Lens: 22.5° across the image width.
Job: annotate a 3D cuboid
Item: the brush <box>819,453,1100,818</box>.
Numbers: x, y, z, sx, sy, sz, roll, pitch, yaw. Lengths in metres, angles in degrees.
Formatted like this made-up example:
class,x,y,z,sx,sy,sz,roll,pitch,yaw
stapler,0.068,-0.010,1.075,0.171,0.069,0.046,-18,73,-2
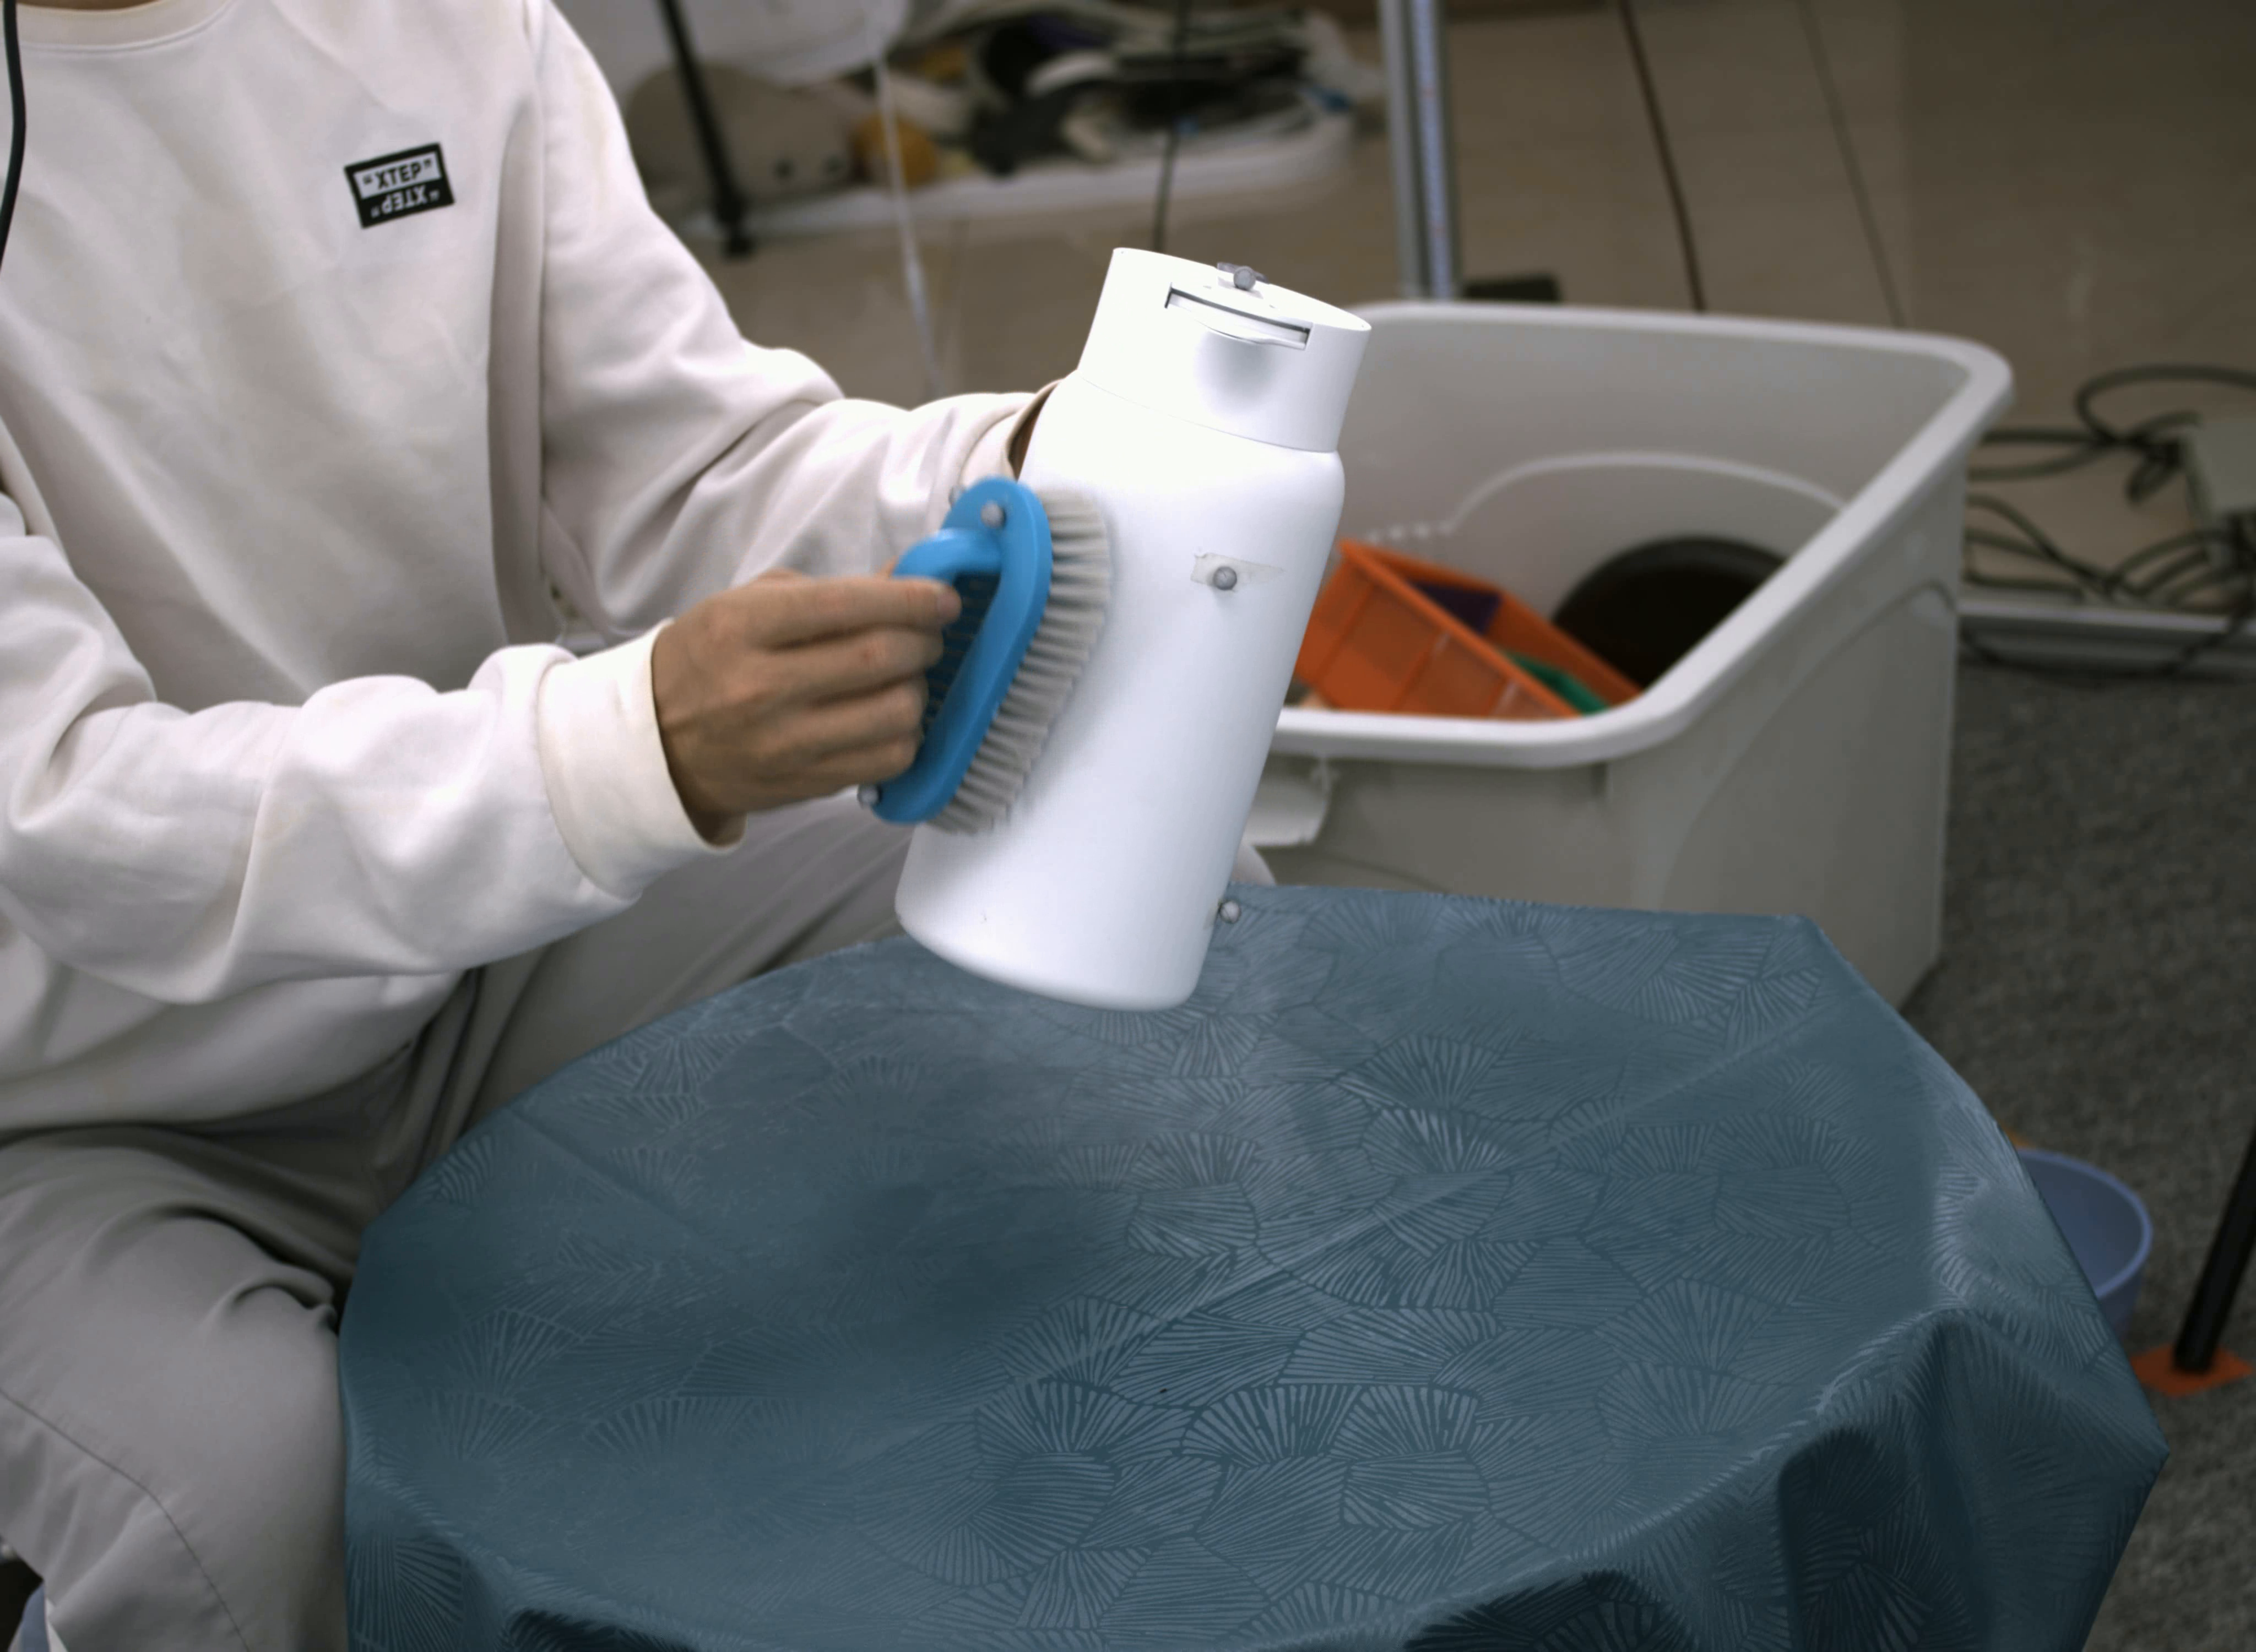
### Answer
class,x,y,z,sx,sy,sz,roll,pitch,yaw
brush,-0.069,-0.067,2.021,0.064,0.144,0.083,5,37,-36

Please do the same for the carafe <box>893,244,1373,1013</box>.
class,x,y,z,sx,sy,sz,roll,pitch,yaw
carafe,0.003,-0.076,2.095,0.124,0.271,0.171,14,13,-3
